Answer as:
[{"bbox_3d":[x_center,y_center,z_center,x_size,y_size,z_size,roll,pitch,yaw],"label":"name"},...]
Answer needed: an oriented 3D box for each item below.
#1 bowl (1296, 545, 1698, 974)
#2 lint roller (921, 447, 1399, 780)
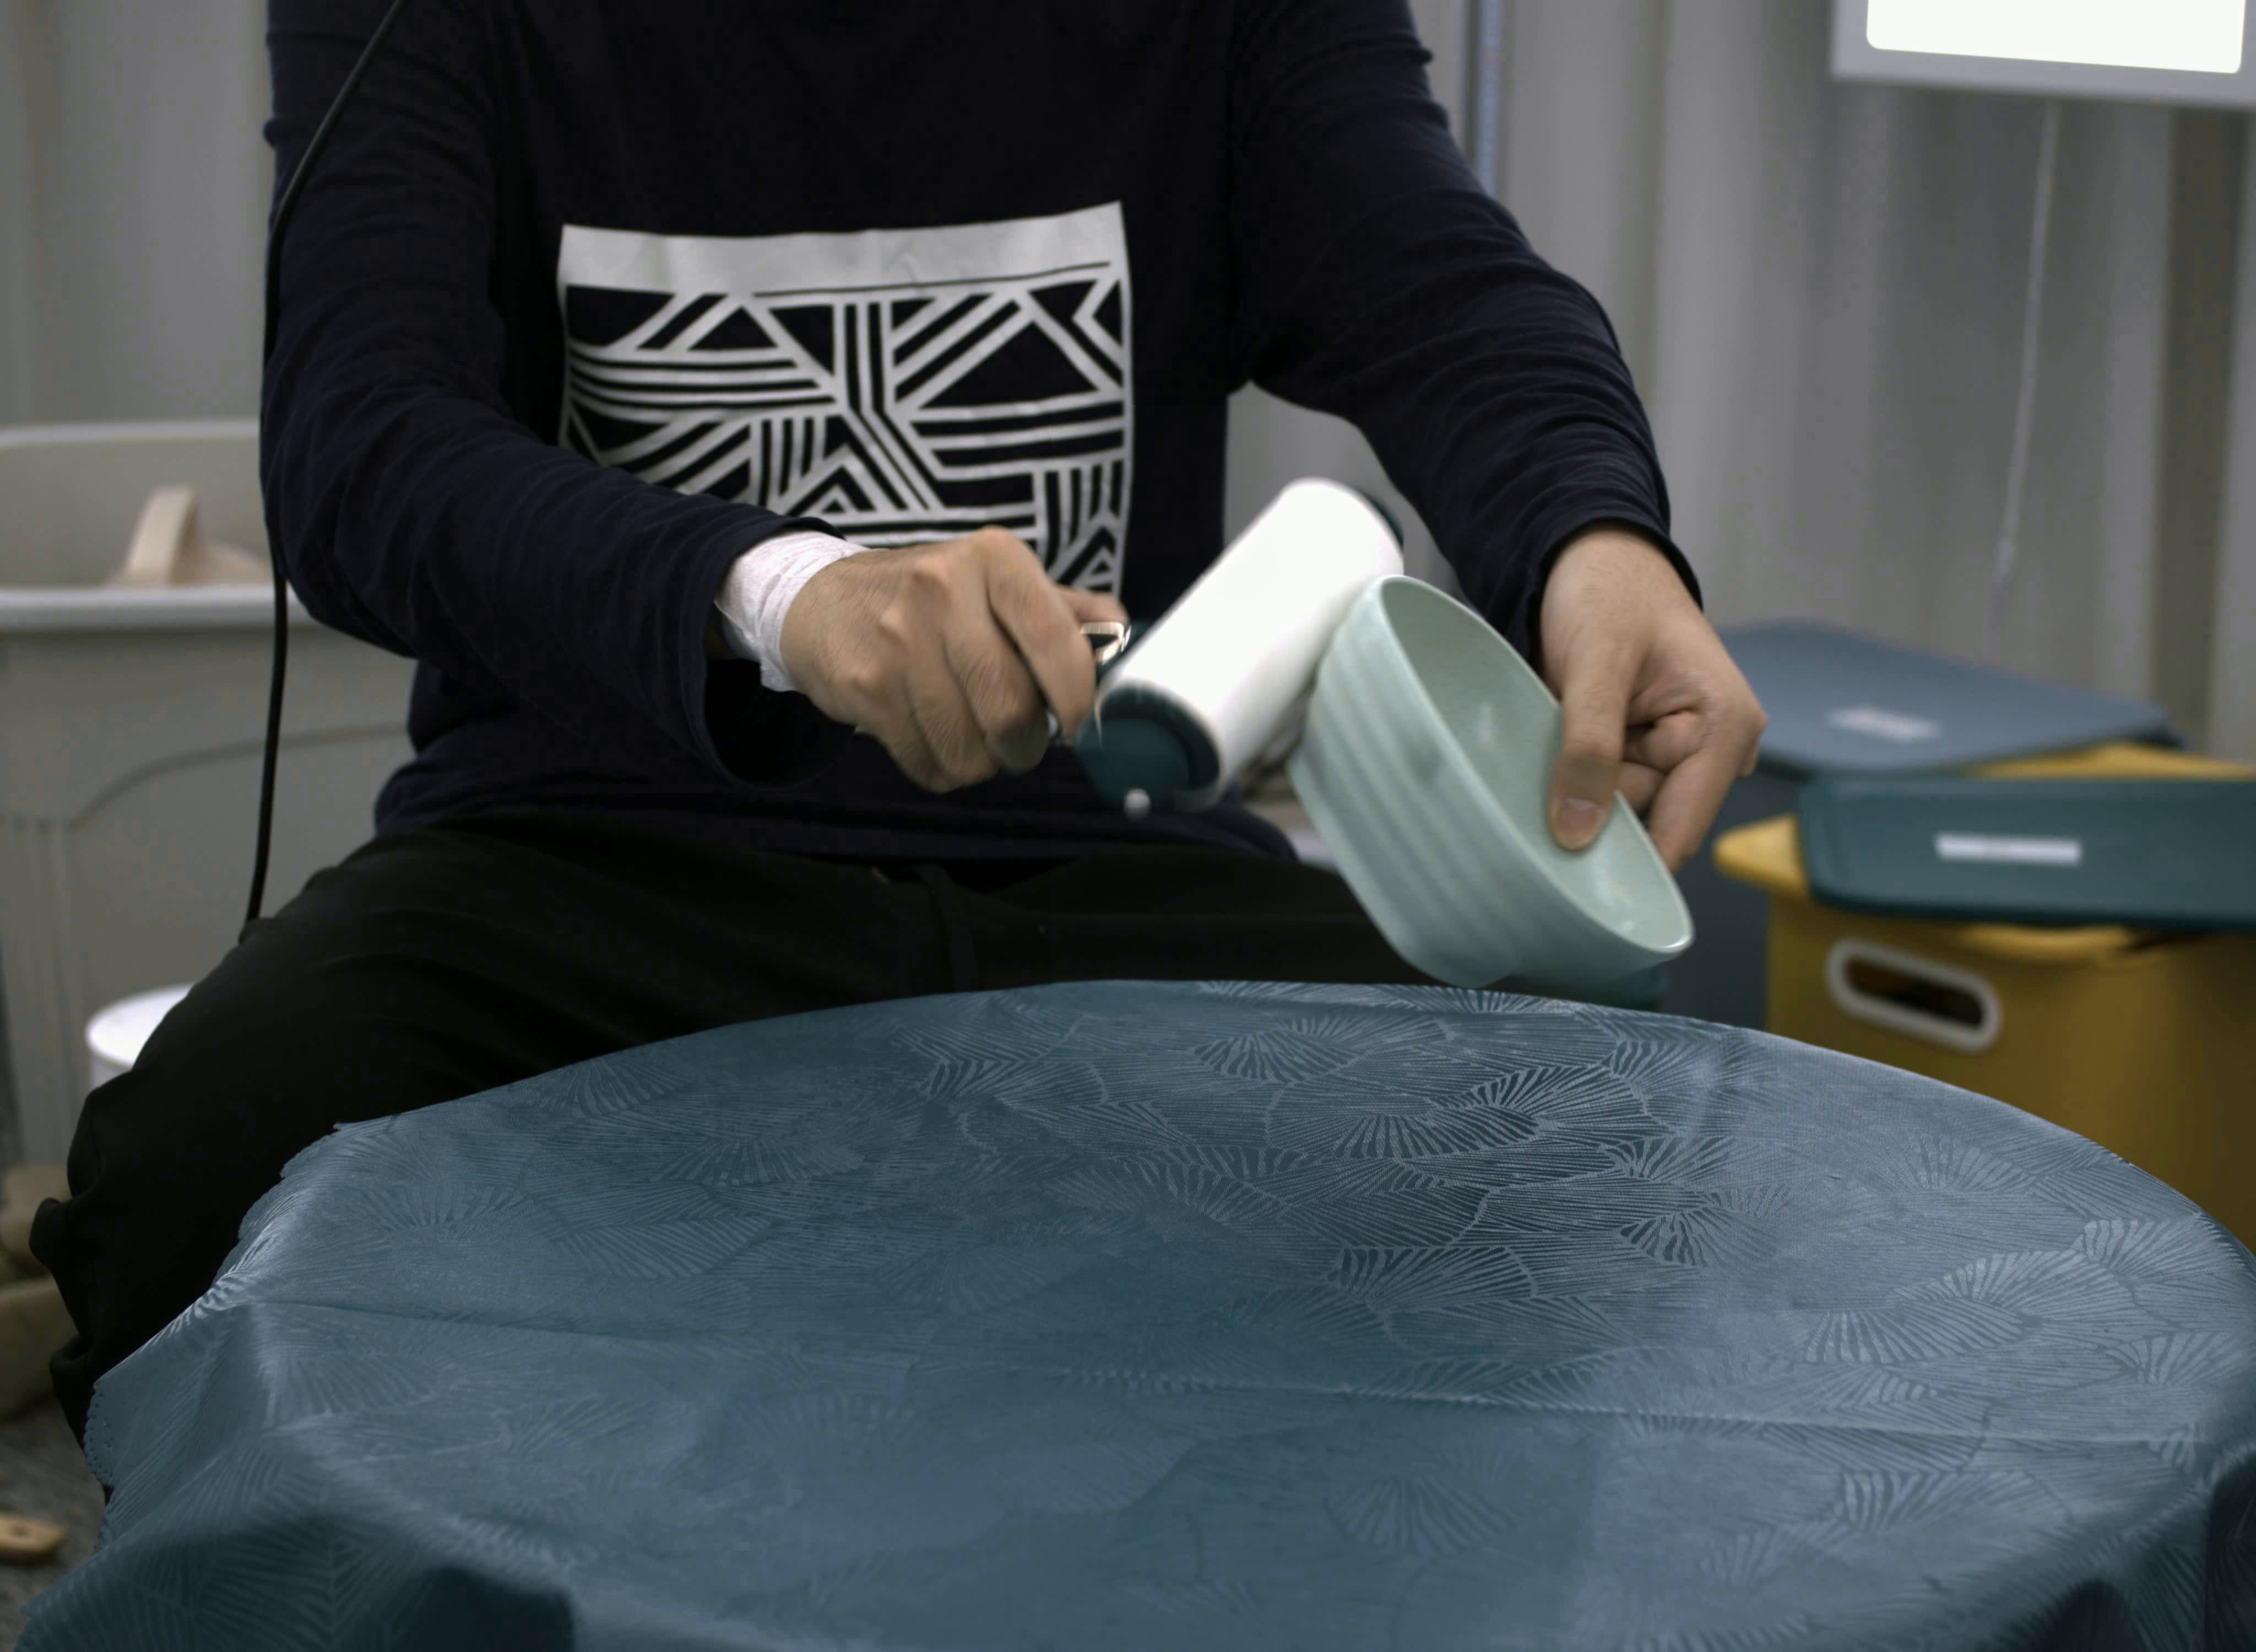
[{"bbox_3d":[0.102,-0.009,1.568,0.058,0.152,0.151,-31,1,27],"label":"bowl"},{"bbox_3d":[-0.010,-0.058,1.612,0.178,0.049,0.134,-4,33,46],"label":"lint roller"}]
